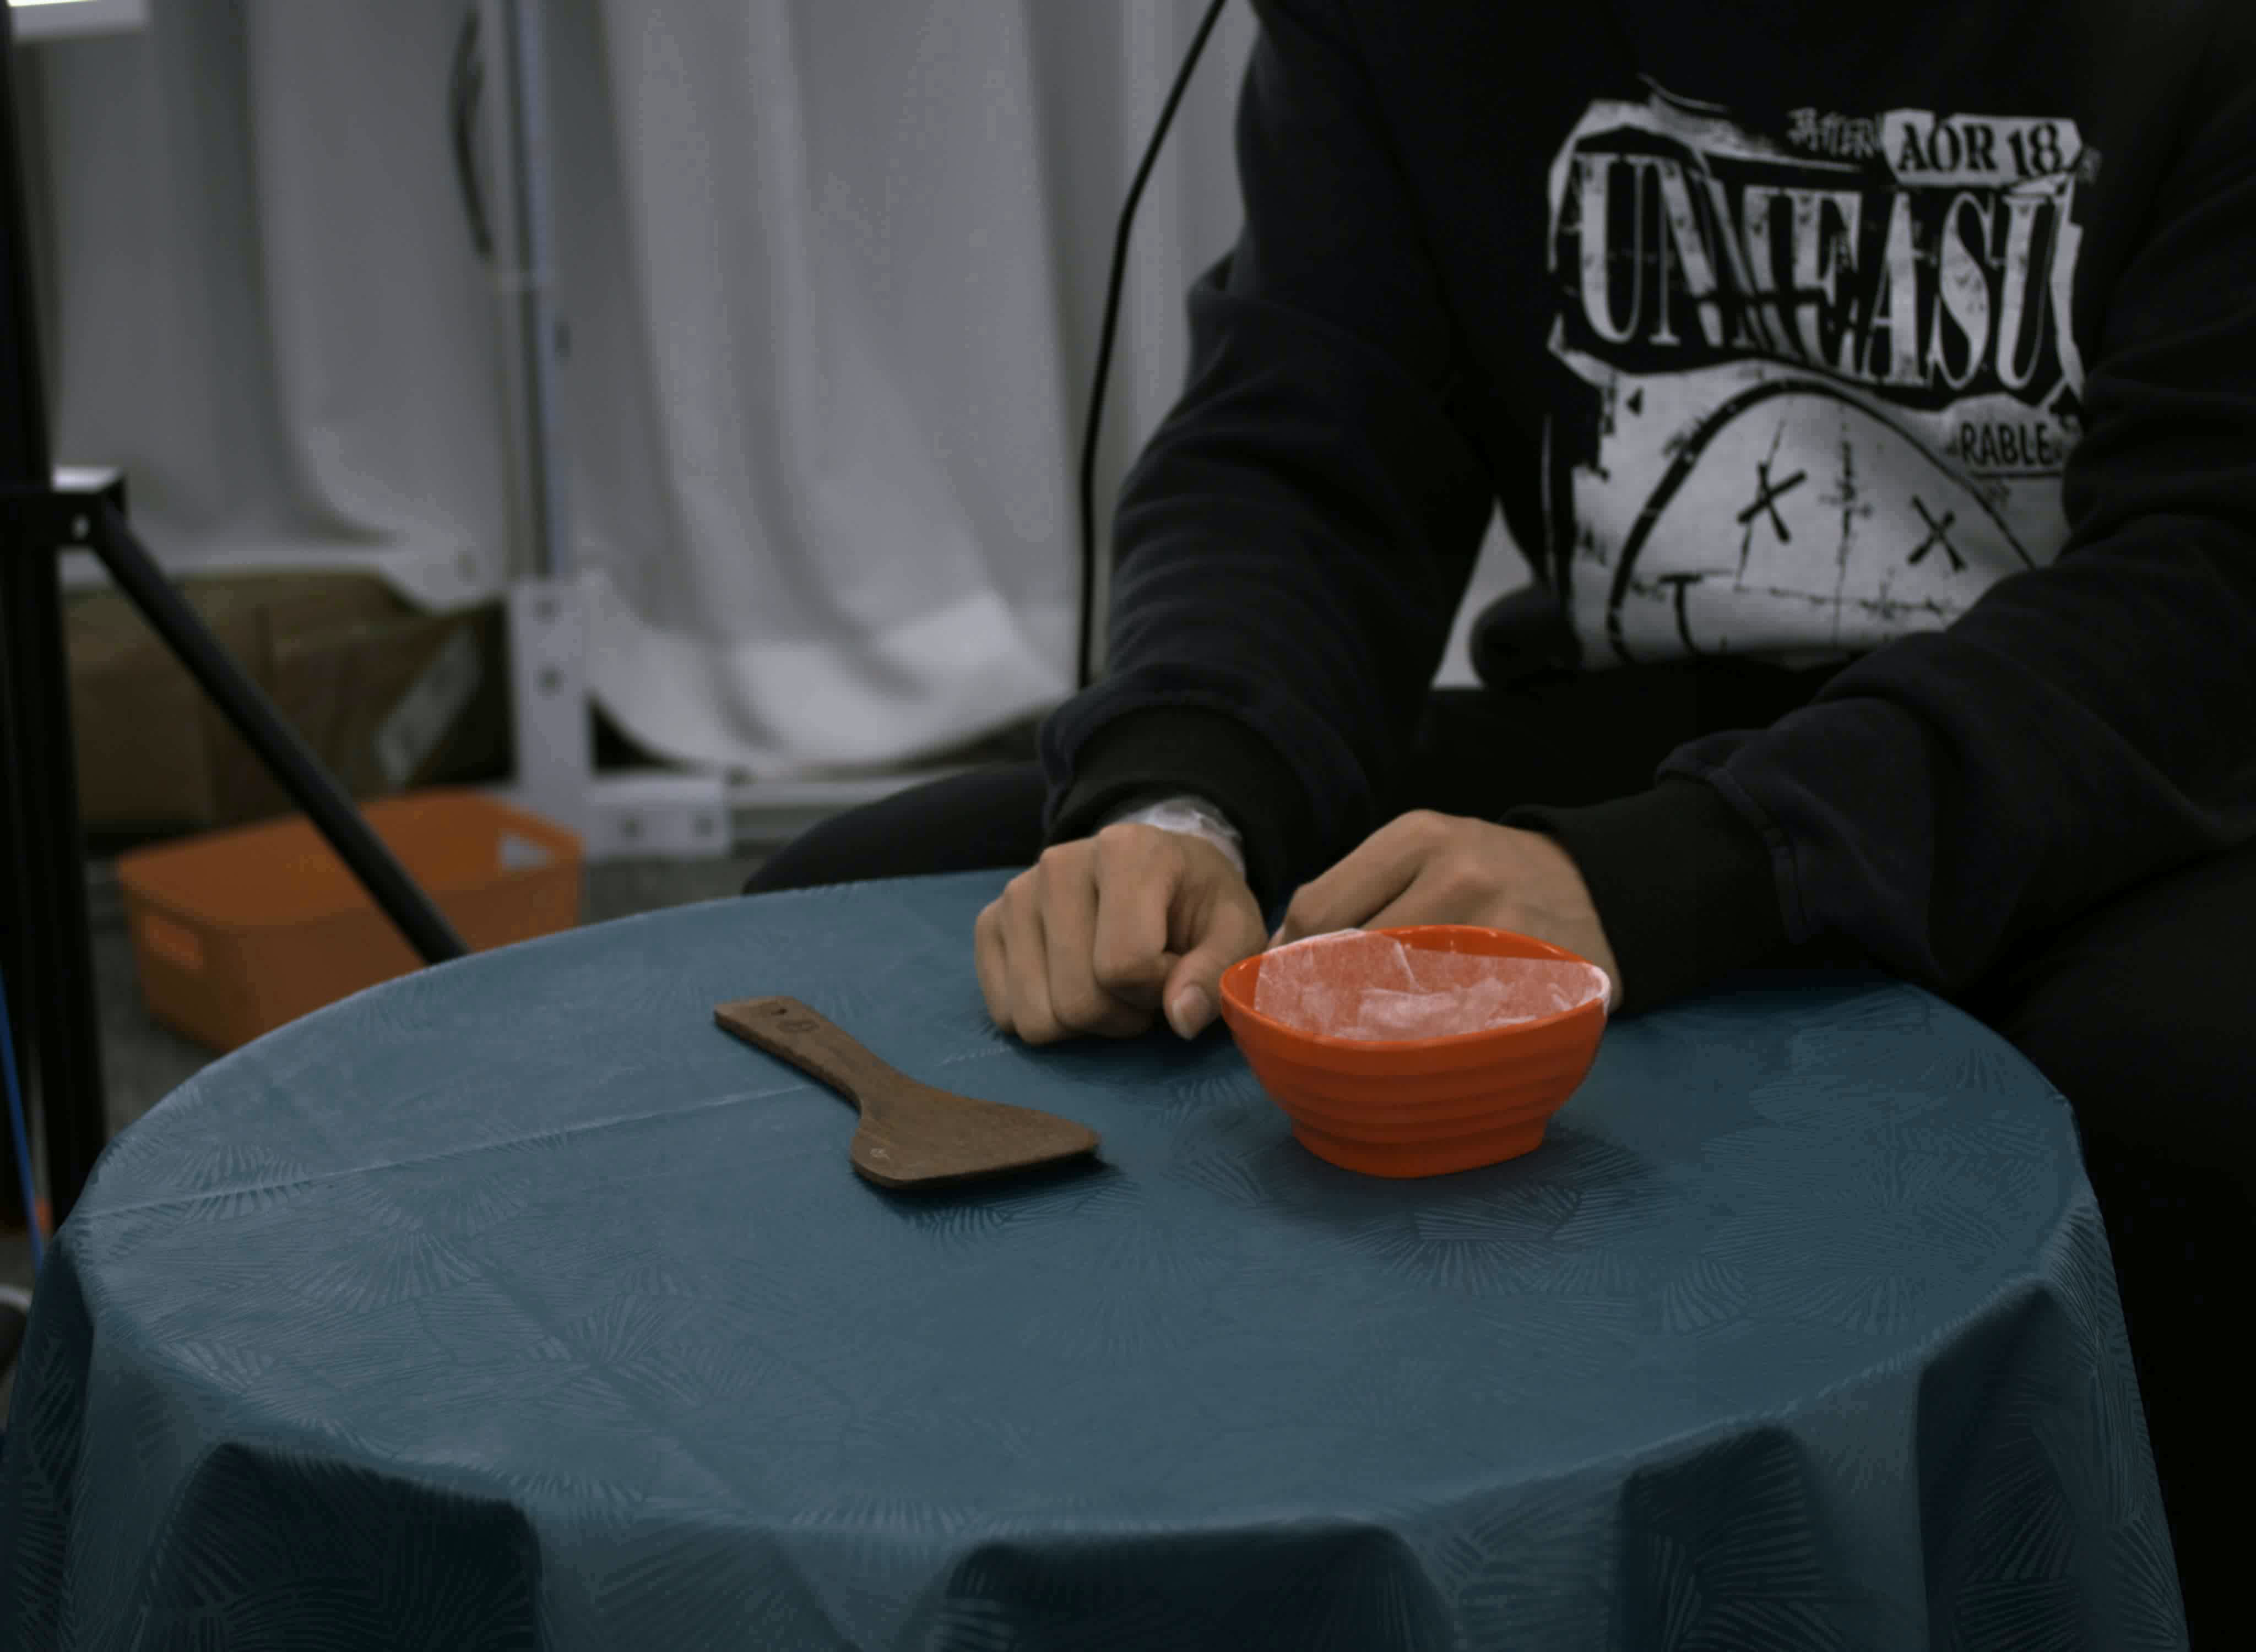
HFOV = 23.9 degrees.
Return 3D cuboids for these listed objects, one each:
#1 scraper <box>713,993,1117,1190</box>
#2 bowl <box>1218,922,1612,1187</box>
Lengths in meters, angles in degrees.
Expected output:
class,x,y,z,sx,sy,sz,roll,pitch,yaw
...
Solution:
class,x,y,z,sx,sy,sz,roll,pitch,yaw
scraper,-0.078,0.081,1.653,0.074,0.011,0.215,-9,16,-24
bowl,0.087,0.070,1.585,0.118,0.051,0.119,-4,17,0
